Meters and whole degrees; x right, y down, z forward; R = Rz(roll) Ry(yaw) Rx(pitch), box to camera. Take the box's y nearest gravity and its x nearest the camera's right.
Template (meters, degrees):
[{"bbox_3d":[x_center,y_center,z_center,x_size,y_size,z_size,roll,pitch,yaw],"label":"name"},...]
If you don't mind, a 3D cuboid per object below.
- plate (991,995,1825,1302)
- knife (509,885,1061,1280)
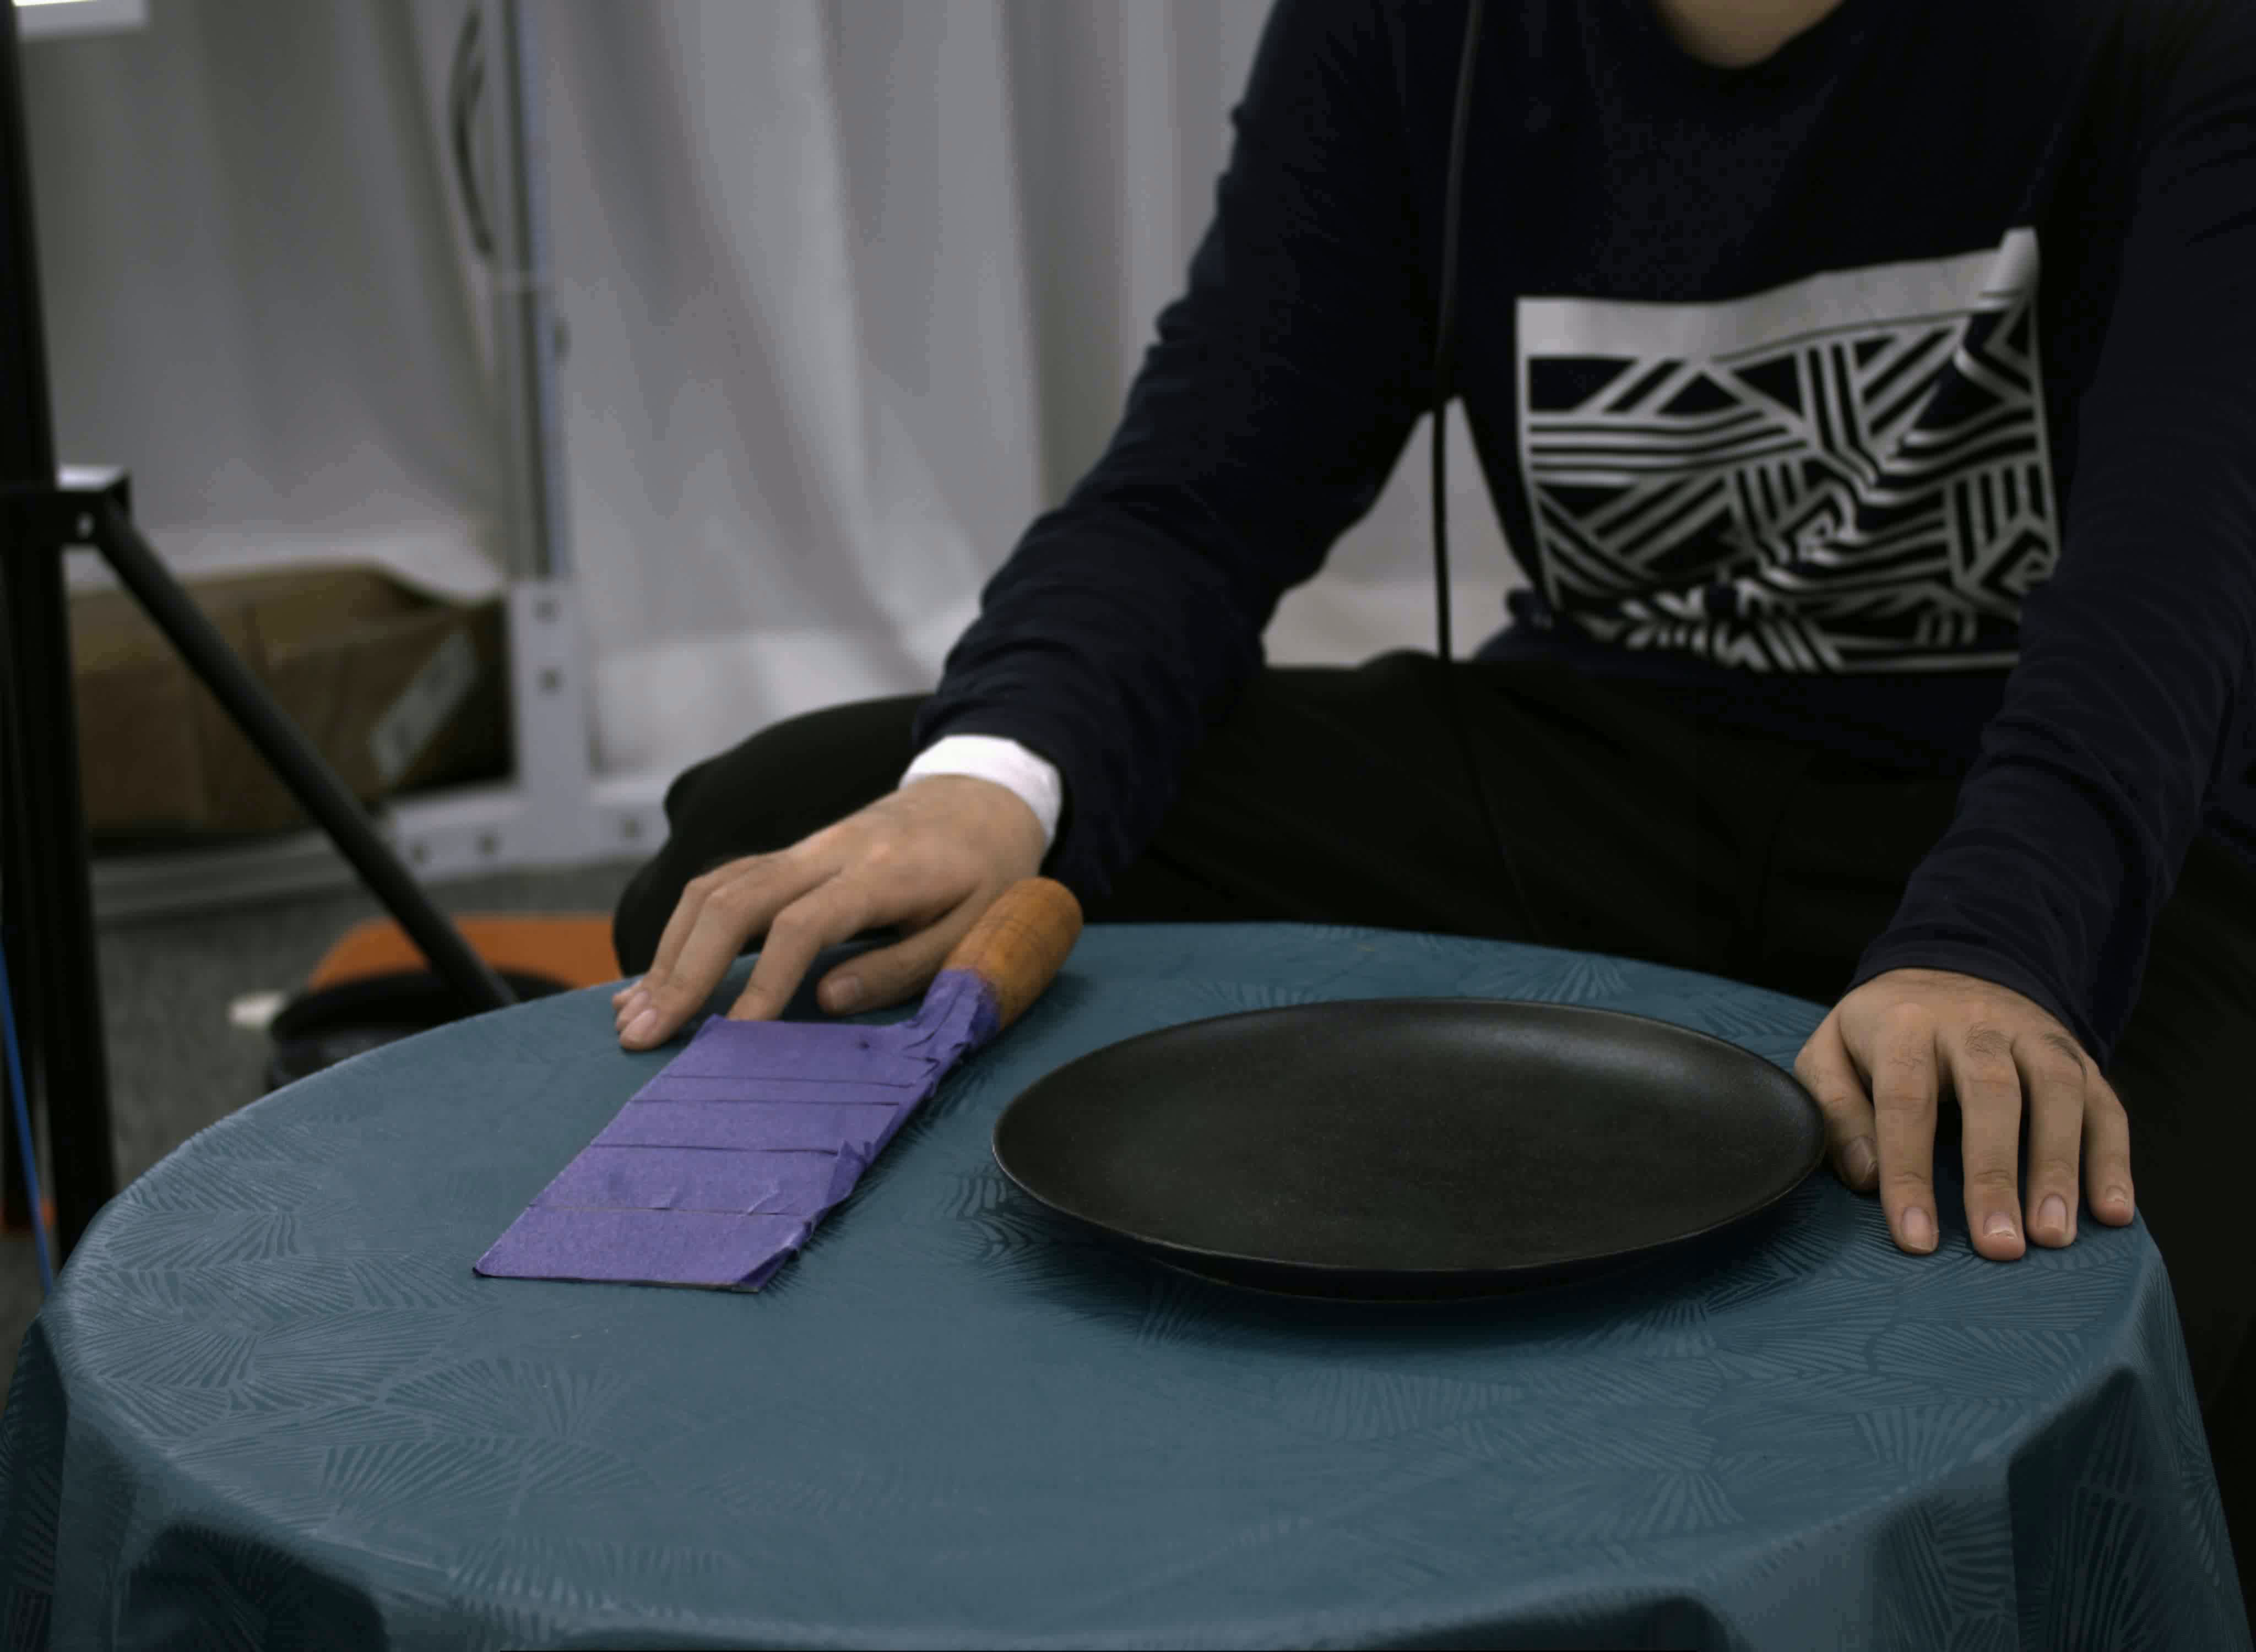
[{"bbox_3d":[0.081,0.097,1.548,0.243,0.023,0.245,-3,16,-1],"label":"plate"},{"bbox_3d":[-0.103,0.076,1.642,0.105,0.032,0.312,2,17,15],"label":"knife"}]
